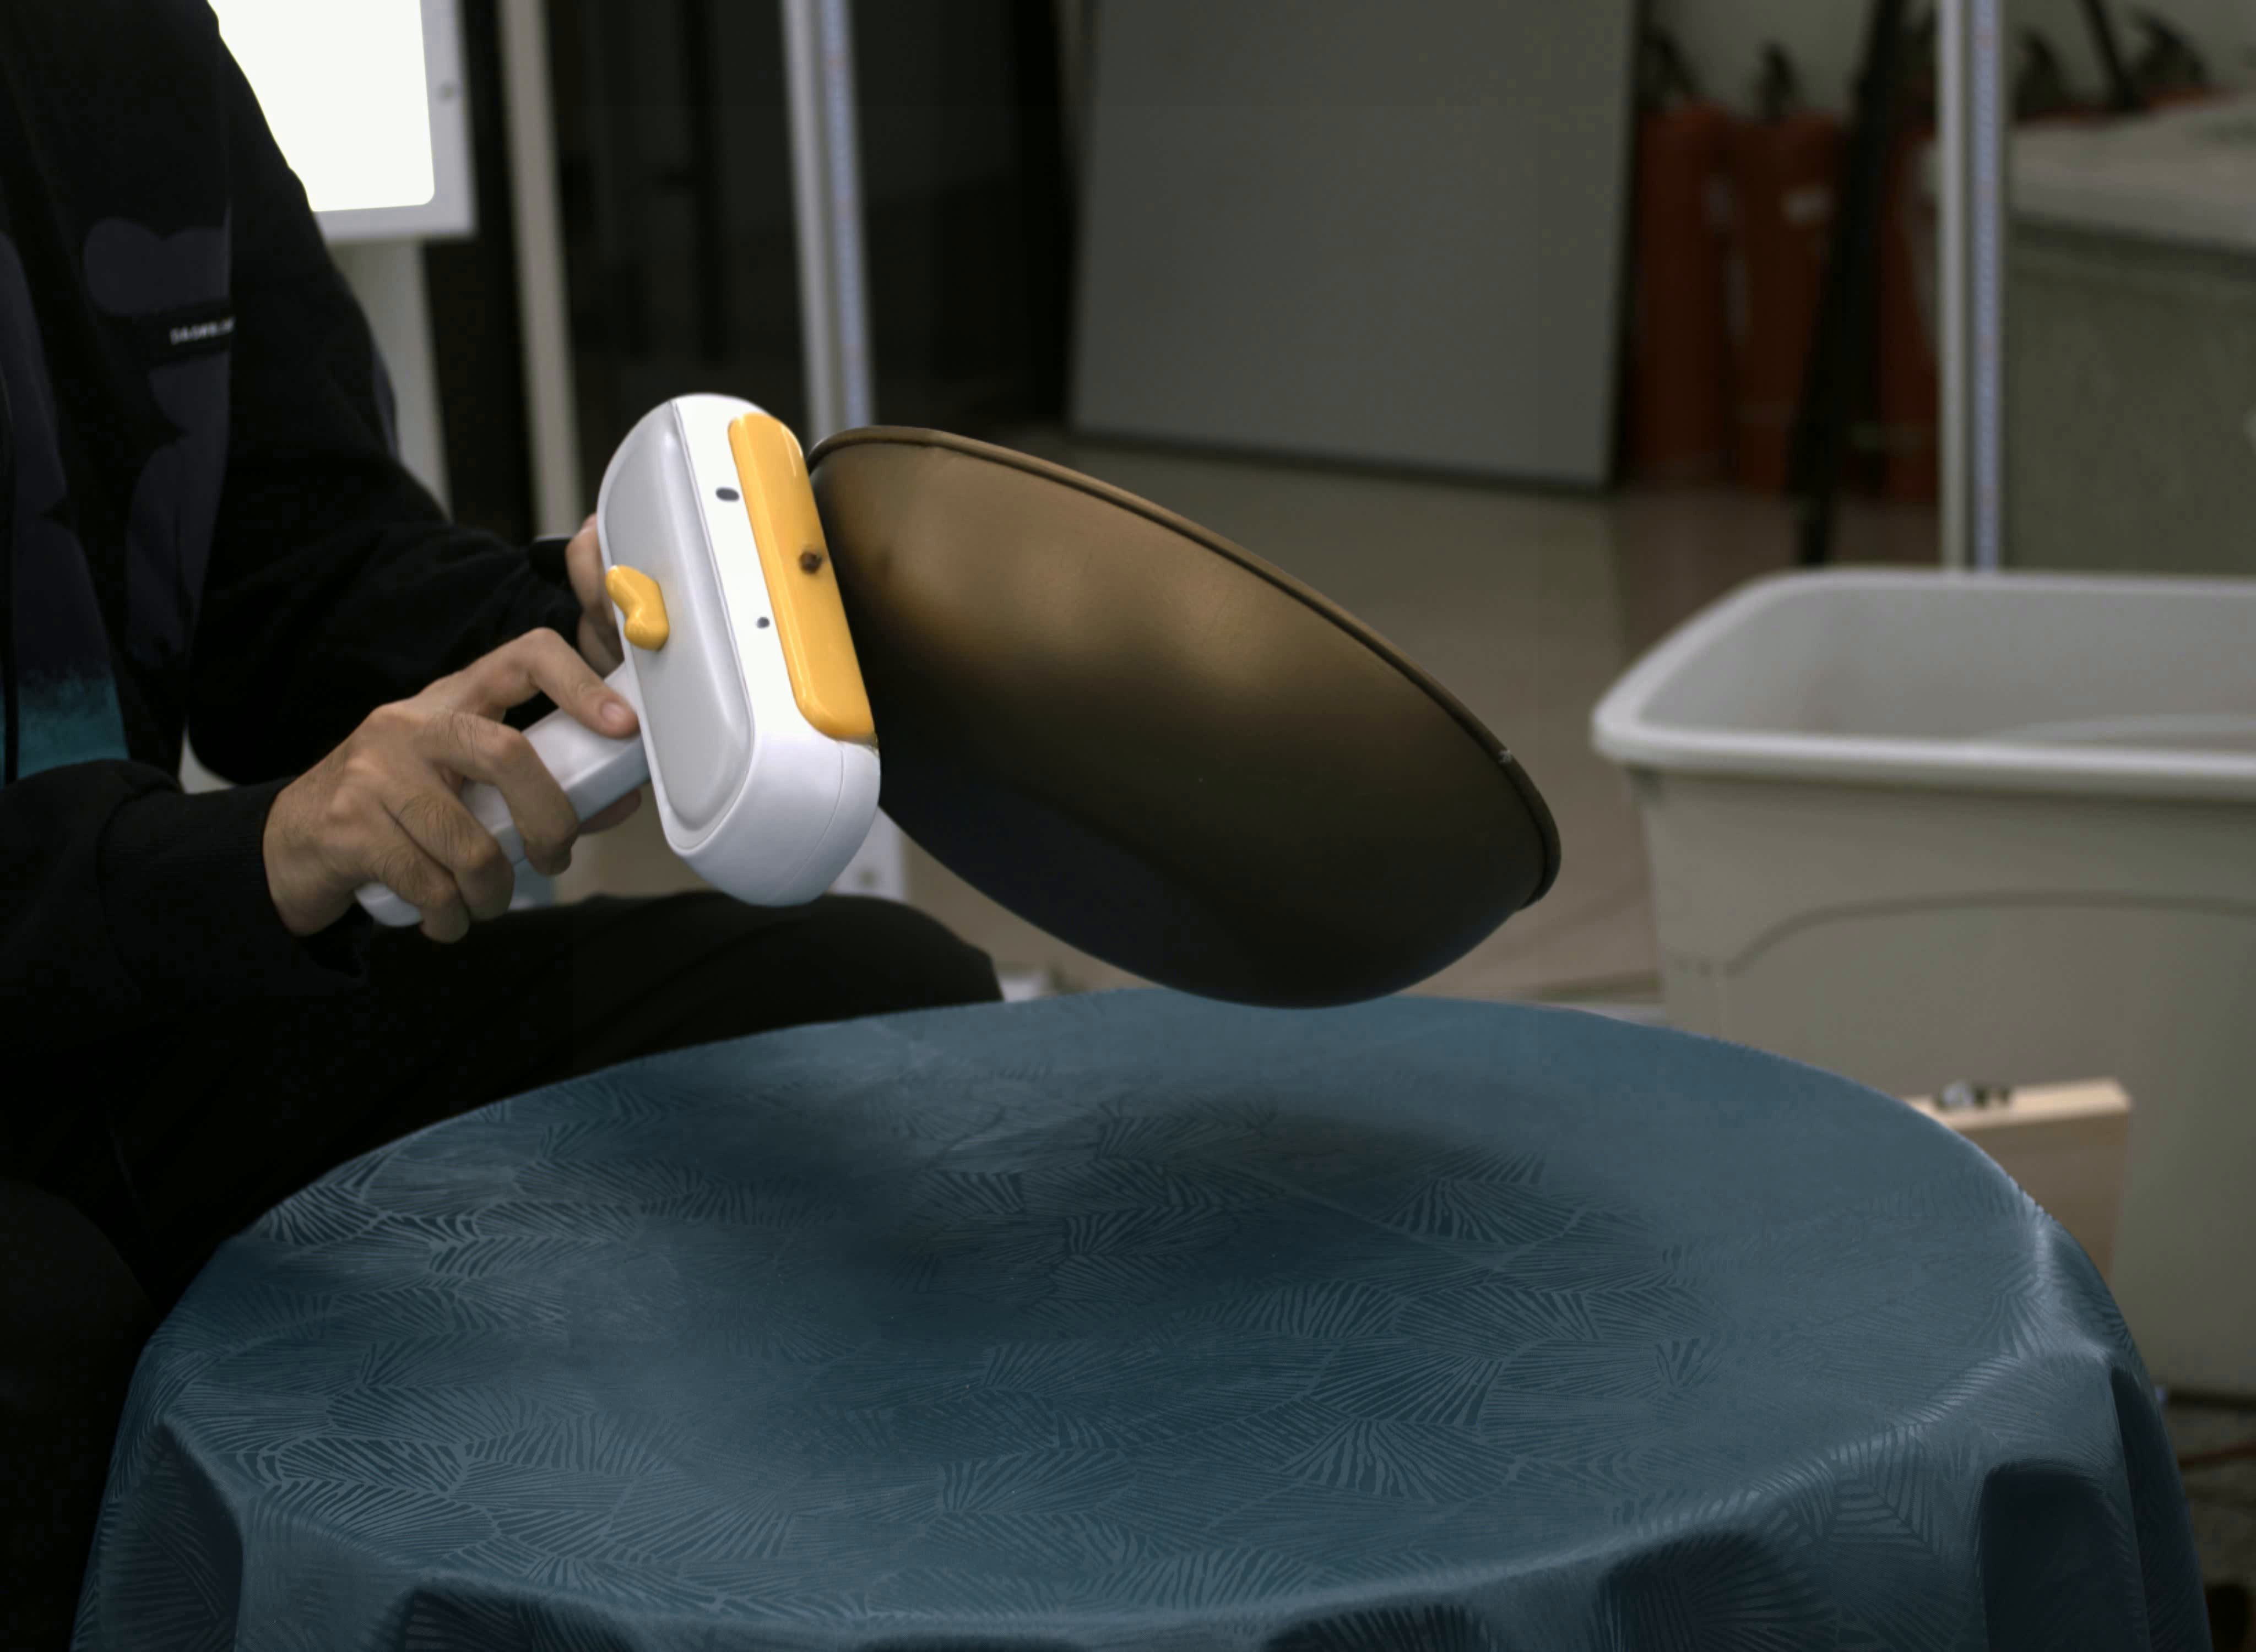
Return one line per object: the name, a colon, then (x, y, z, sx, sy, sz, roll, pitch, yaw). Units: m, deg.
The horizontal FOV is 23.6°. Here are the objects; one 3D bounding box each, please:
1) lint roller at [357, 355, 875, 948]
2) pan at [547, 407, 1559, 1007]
lint roller: (-0.167, -0.031, 1.706, 0.072, 0.194, 0.195, 21, 33, -40)
pan: (-0.066, -0.033, 1.799, 0.468, 0.087, 0.284, 11, -25, 46)
